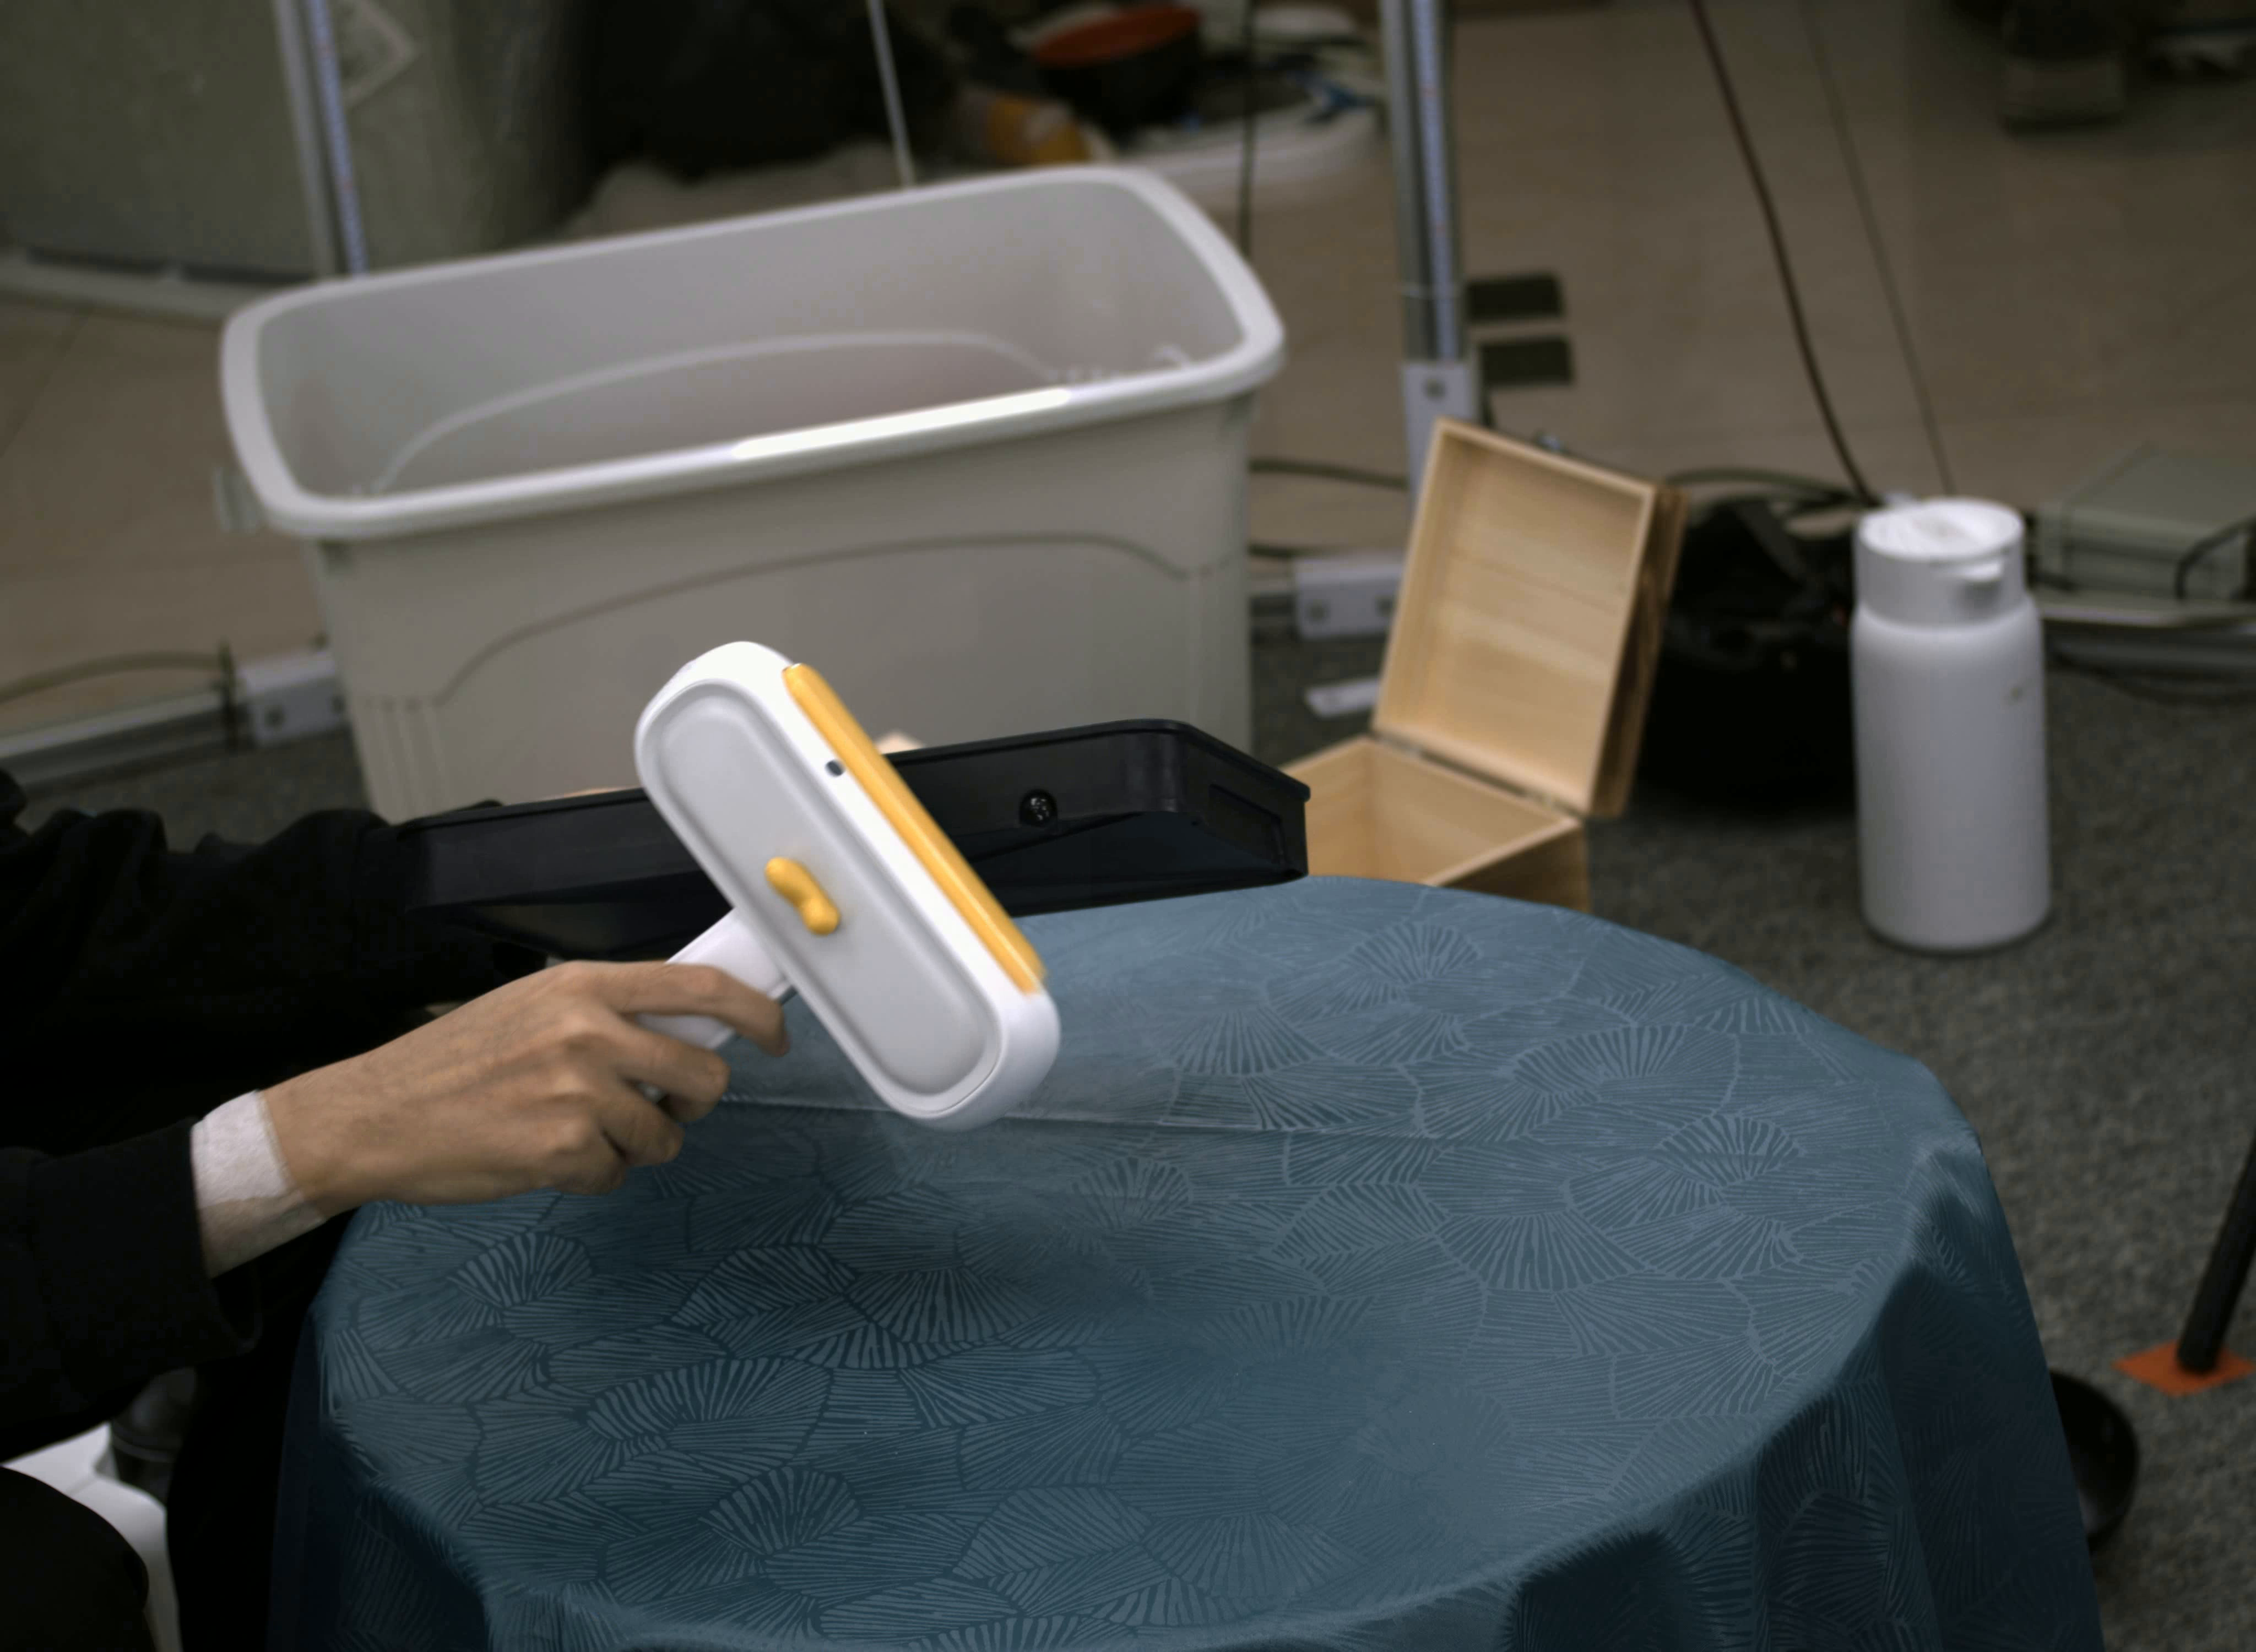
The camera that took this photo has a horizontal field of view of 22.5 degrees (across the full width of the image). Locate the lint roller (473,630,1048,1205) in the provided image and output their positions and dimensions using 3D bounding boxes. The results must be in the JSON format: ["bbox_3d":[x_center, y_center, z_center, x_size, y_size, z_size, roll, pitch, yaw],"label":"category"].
[{"bbox_3d":[-0.149,0.057,1.978,0.193,0.193,0.074,-43,-1,12],"label":"lint roller"}]

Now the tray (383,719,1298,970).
[{"bbox_3d":[-0.106,0.010,2.147,0.318,0.037,0.185,-7,-11,17],"label":"tray"}]
